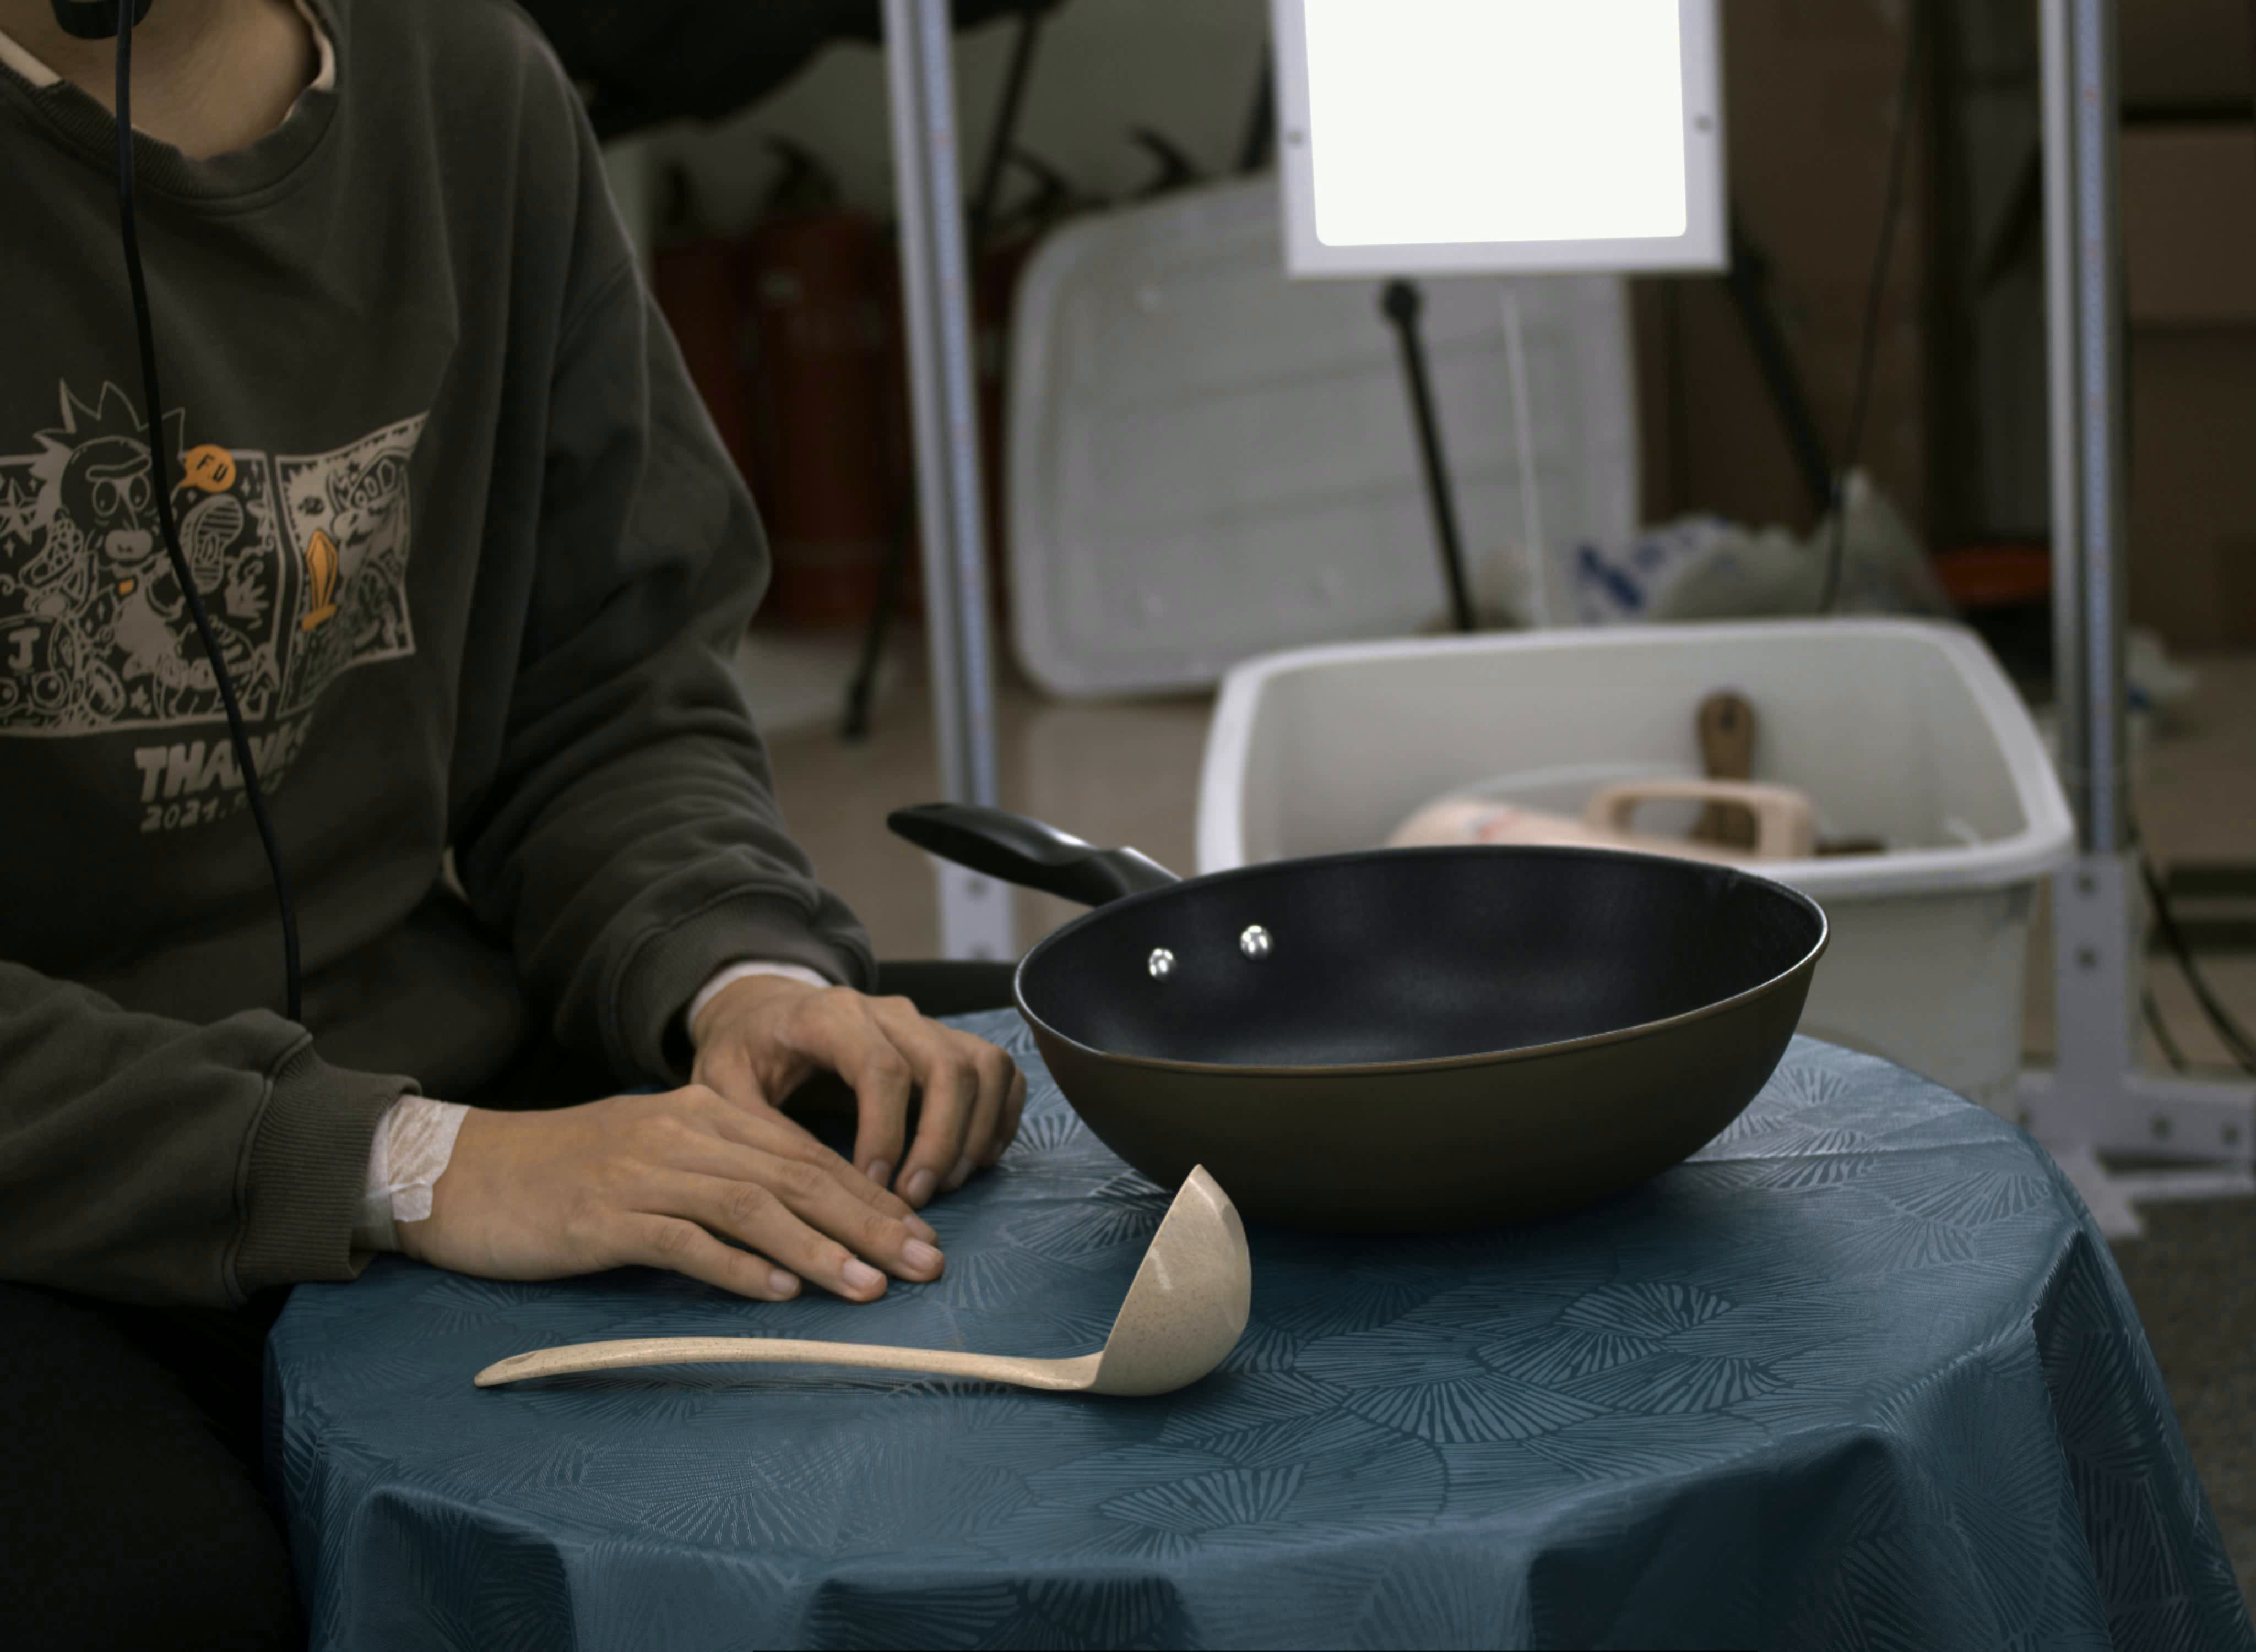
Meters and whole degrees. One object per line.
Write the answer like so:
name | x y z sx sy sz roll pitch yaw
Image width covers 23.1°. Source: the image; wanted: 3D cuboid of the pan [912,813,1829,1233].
pan | 0.050 0.065 1.955 0.281 0.087 0.472 -14 15 -31

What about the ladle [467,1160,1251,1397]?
ladle | -0.089 0.141 1.717 0.256 0.073 0.071 -1 20 14
